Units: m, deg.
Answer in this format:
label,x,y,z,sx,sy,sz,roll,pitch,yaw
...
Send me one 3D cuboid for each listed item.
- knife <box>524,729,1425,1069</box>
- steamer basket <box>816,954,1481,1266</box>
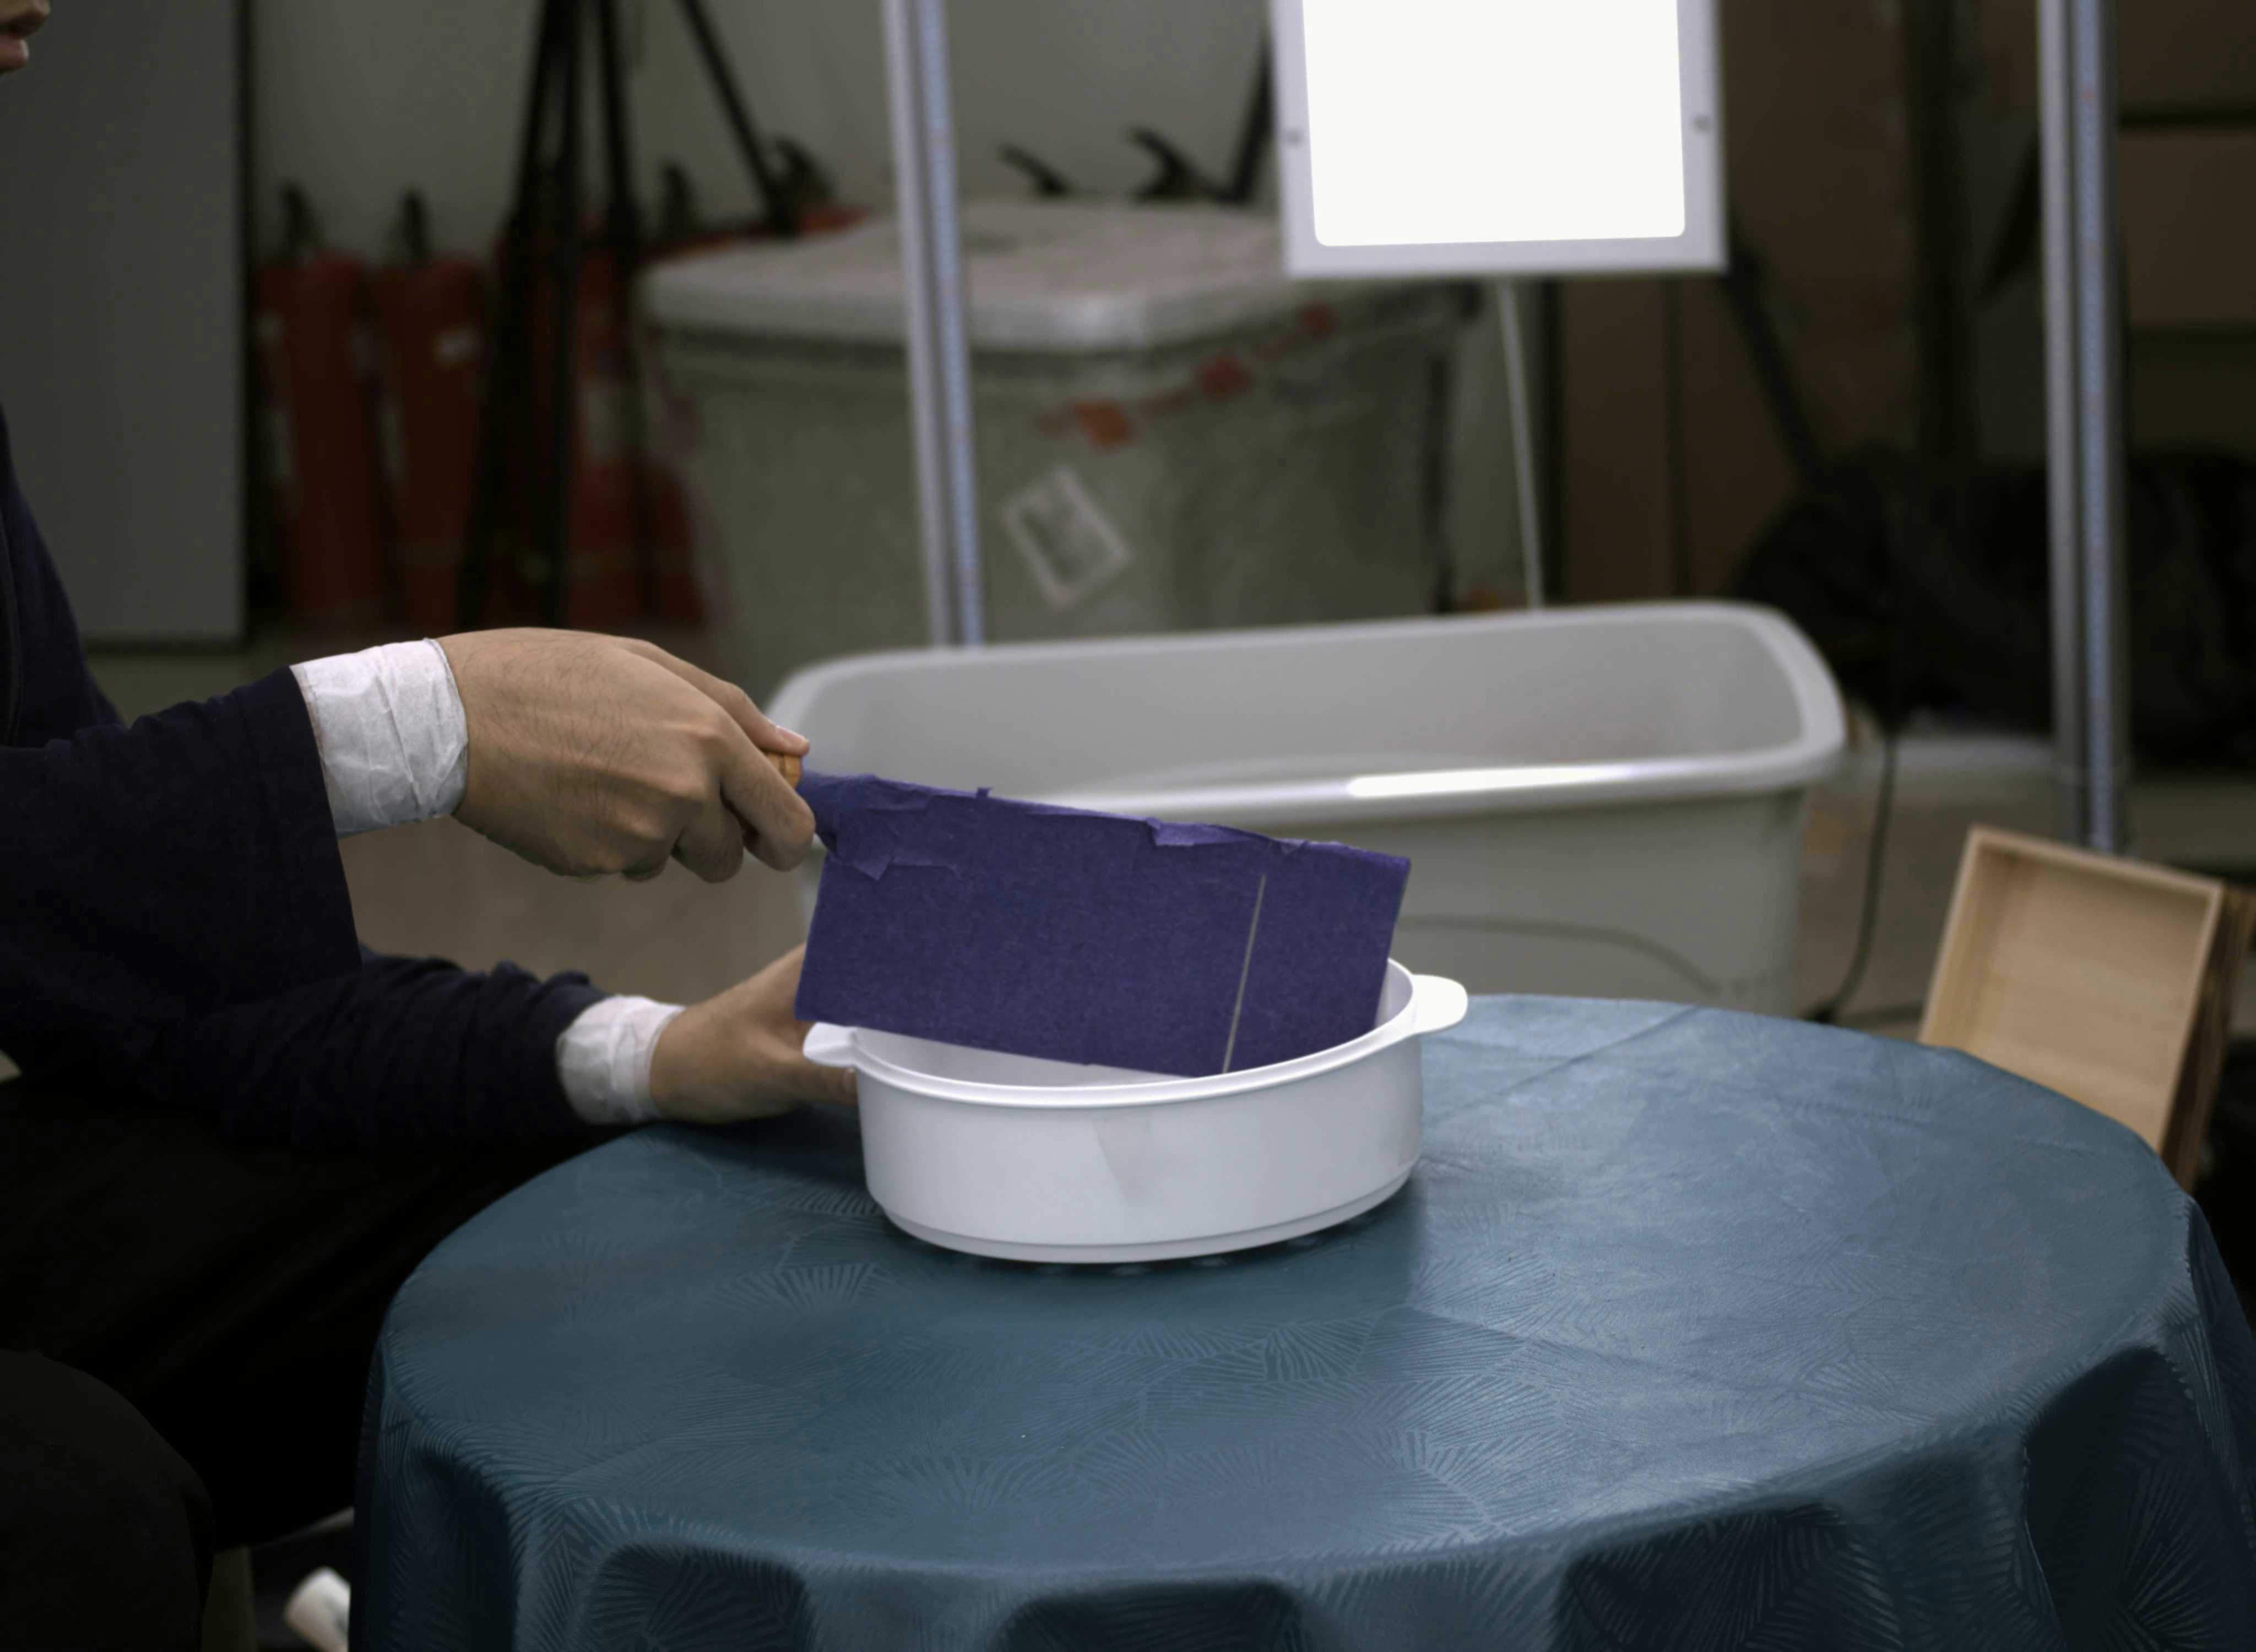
label,x,y,z,sx,sy,sz,roll,pitch,yaw
knife,-0.054,0.031,1.876,0.311,0.104,0.032,8,15,-11
steamer basket,0.010,0.095,1.893,0.231,0.069,0.200,-6,12,7
